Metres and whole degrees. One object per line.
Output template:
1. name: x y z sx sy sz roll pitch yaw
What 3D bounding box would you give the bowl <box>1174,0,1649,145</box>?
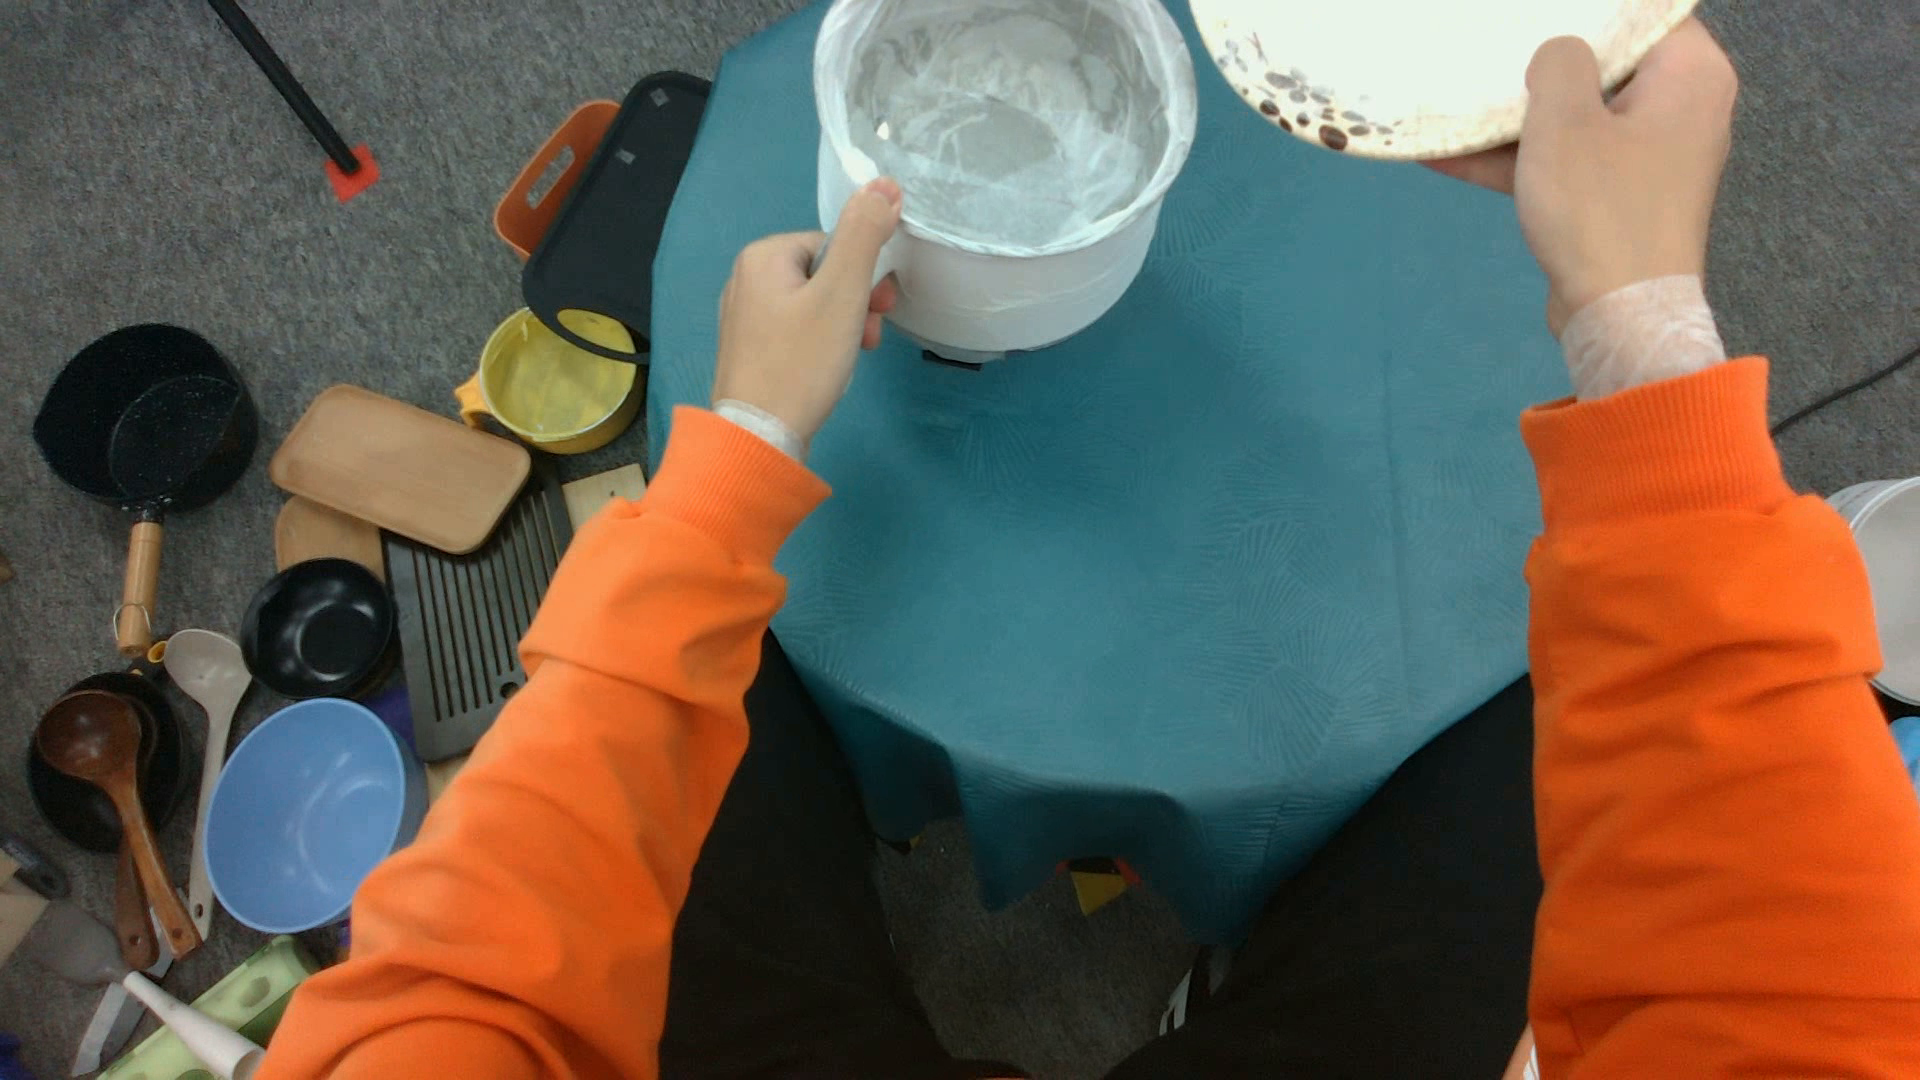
1. bowl: 0.189 -0.254 0.548 0.203 0.078 0.204 2 94 29

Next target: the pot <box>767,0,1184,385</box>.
1. pot: -0.007 -0.178 0.685 0.179 0.136 0.234 39 73 7
